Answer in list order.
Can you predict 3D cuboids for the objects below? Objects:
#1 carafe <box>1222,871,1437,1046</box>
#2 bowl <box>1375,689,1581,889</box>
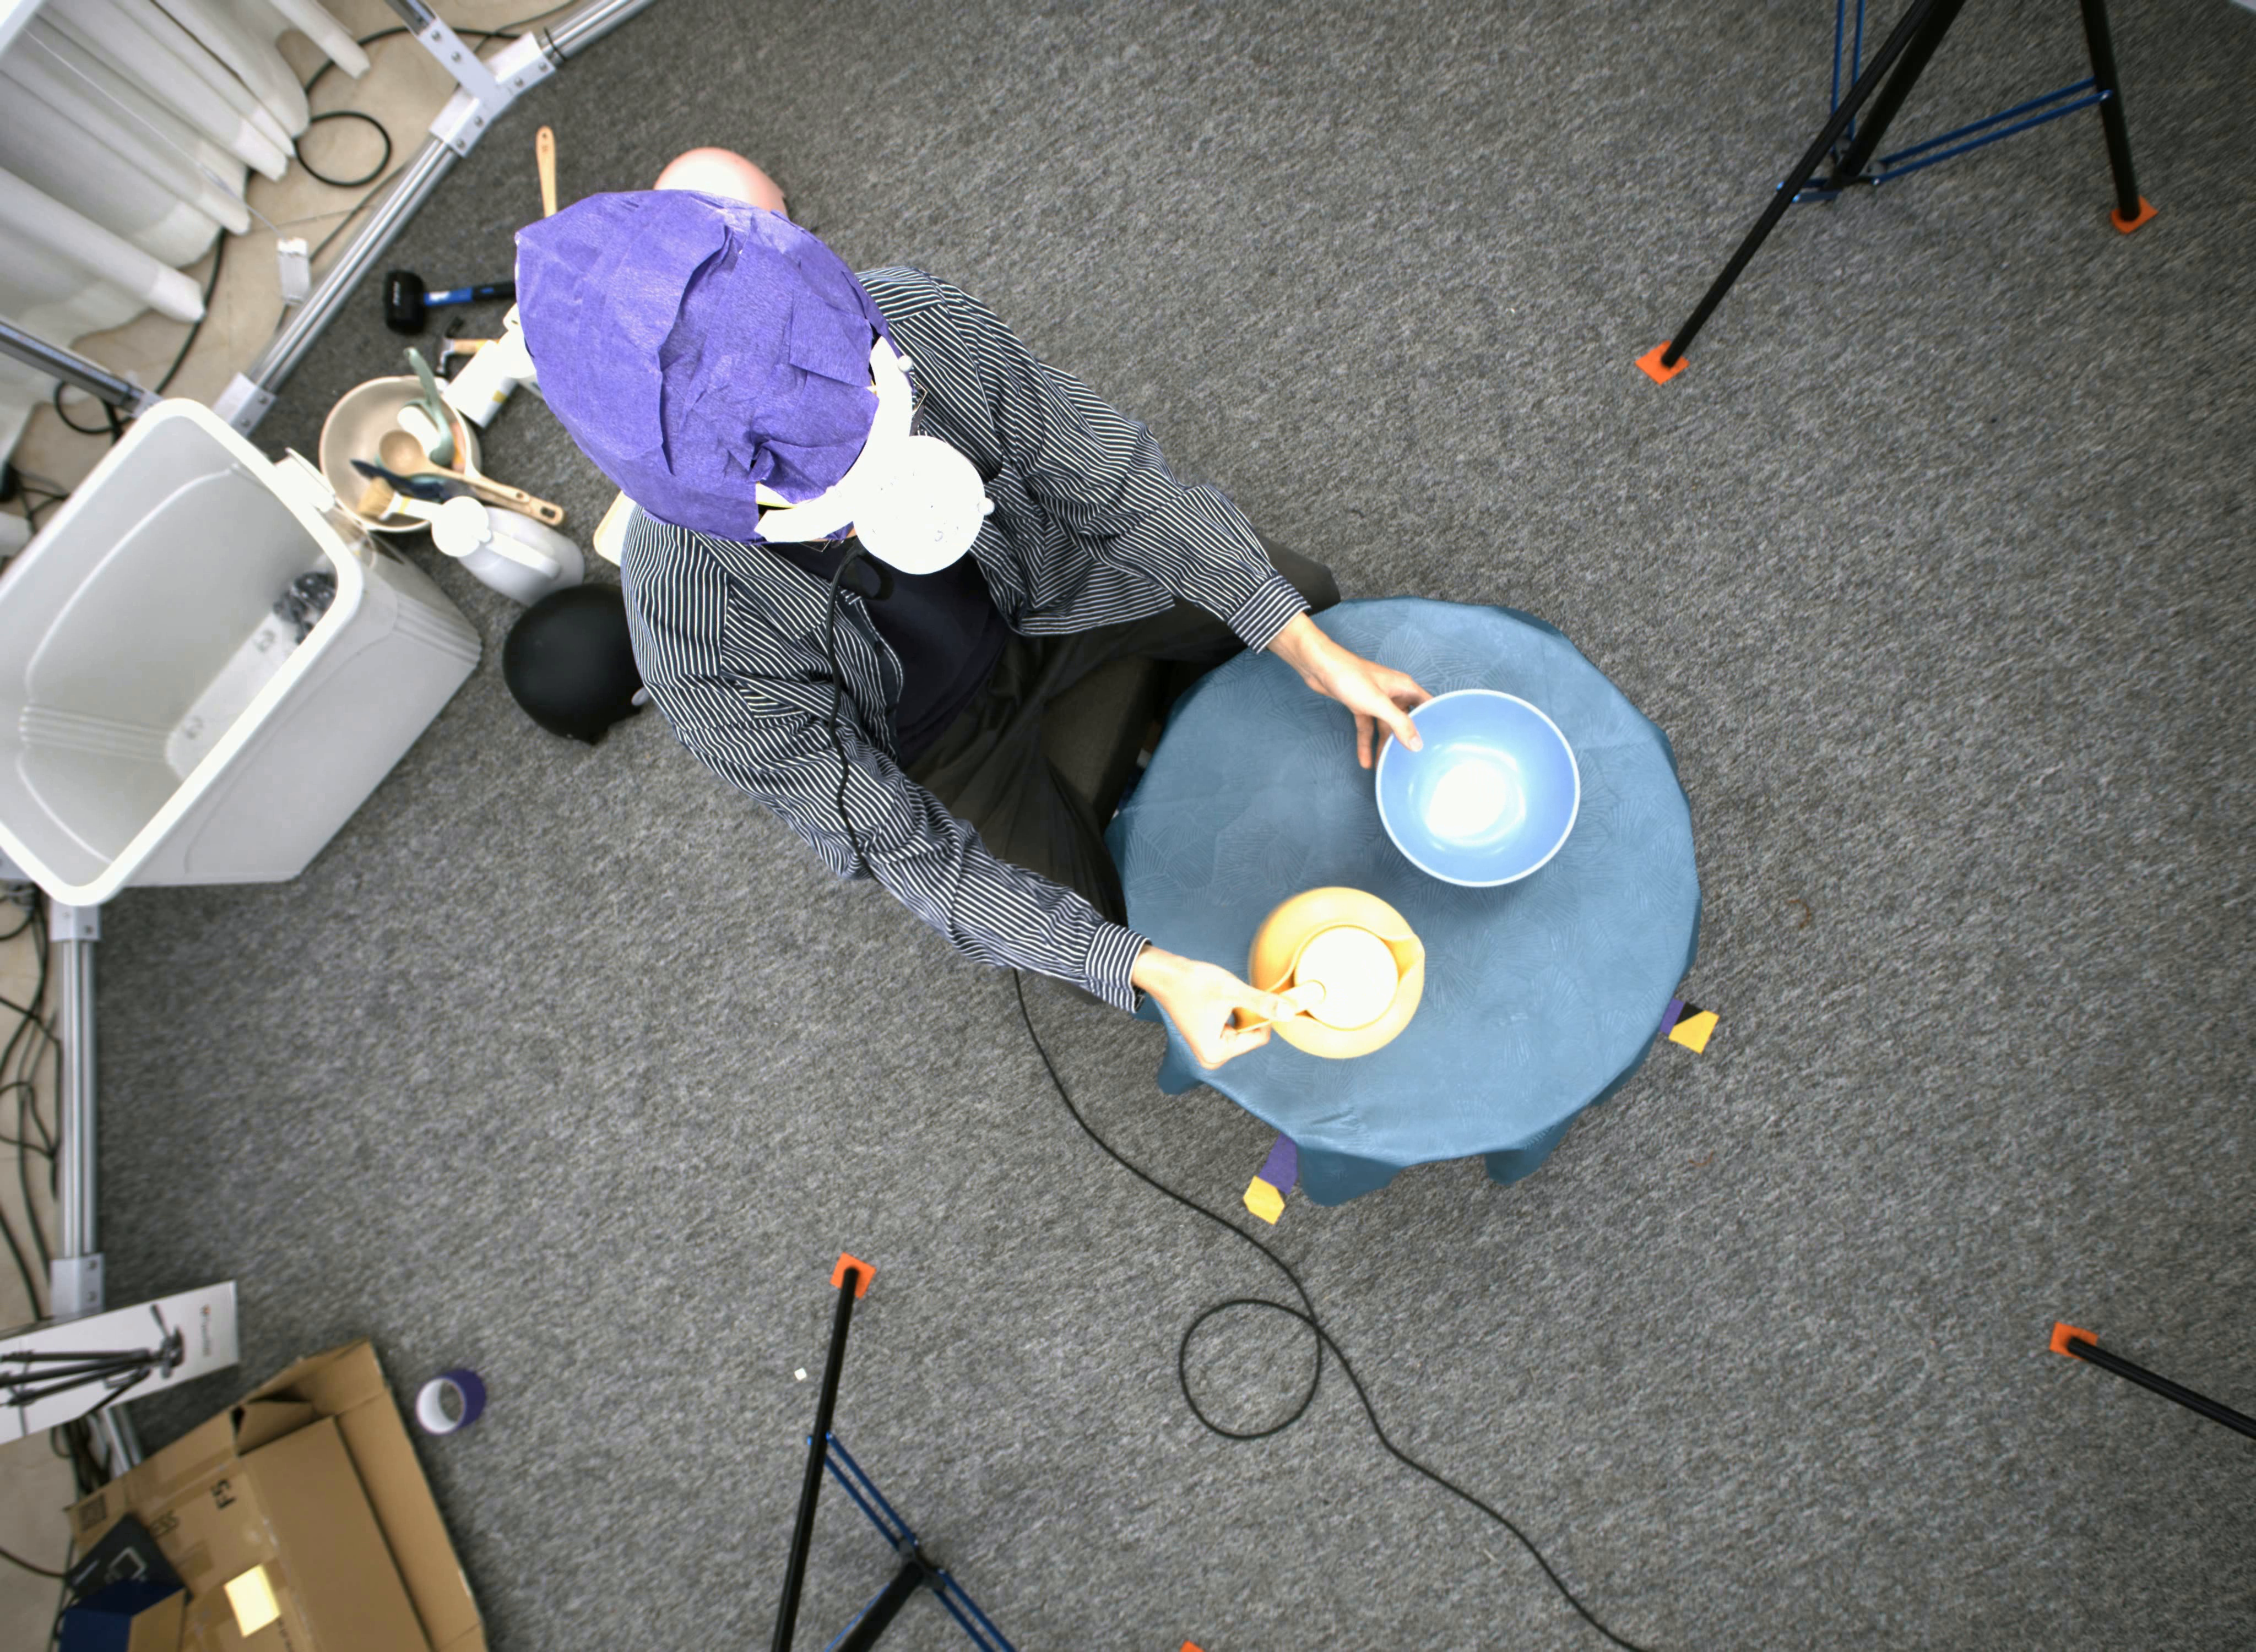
[{"bbox_3d":[0.184,0.131,1.305,0.203,0.260,0.163,-23,88,3],"label":"carafe"},{"bbox_3d":[0.343,-0.033,1.373,0.197,0.095,0.195,-1,85,7],"label":"bowl"}]
